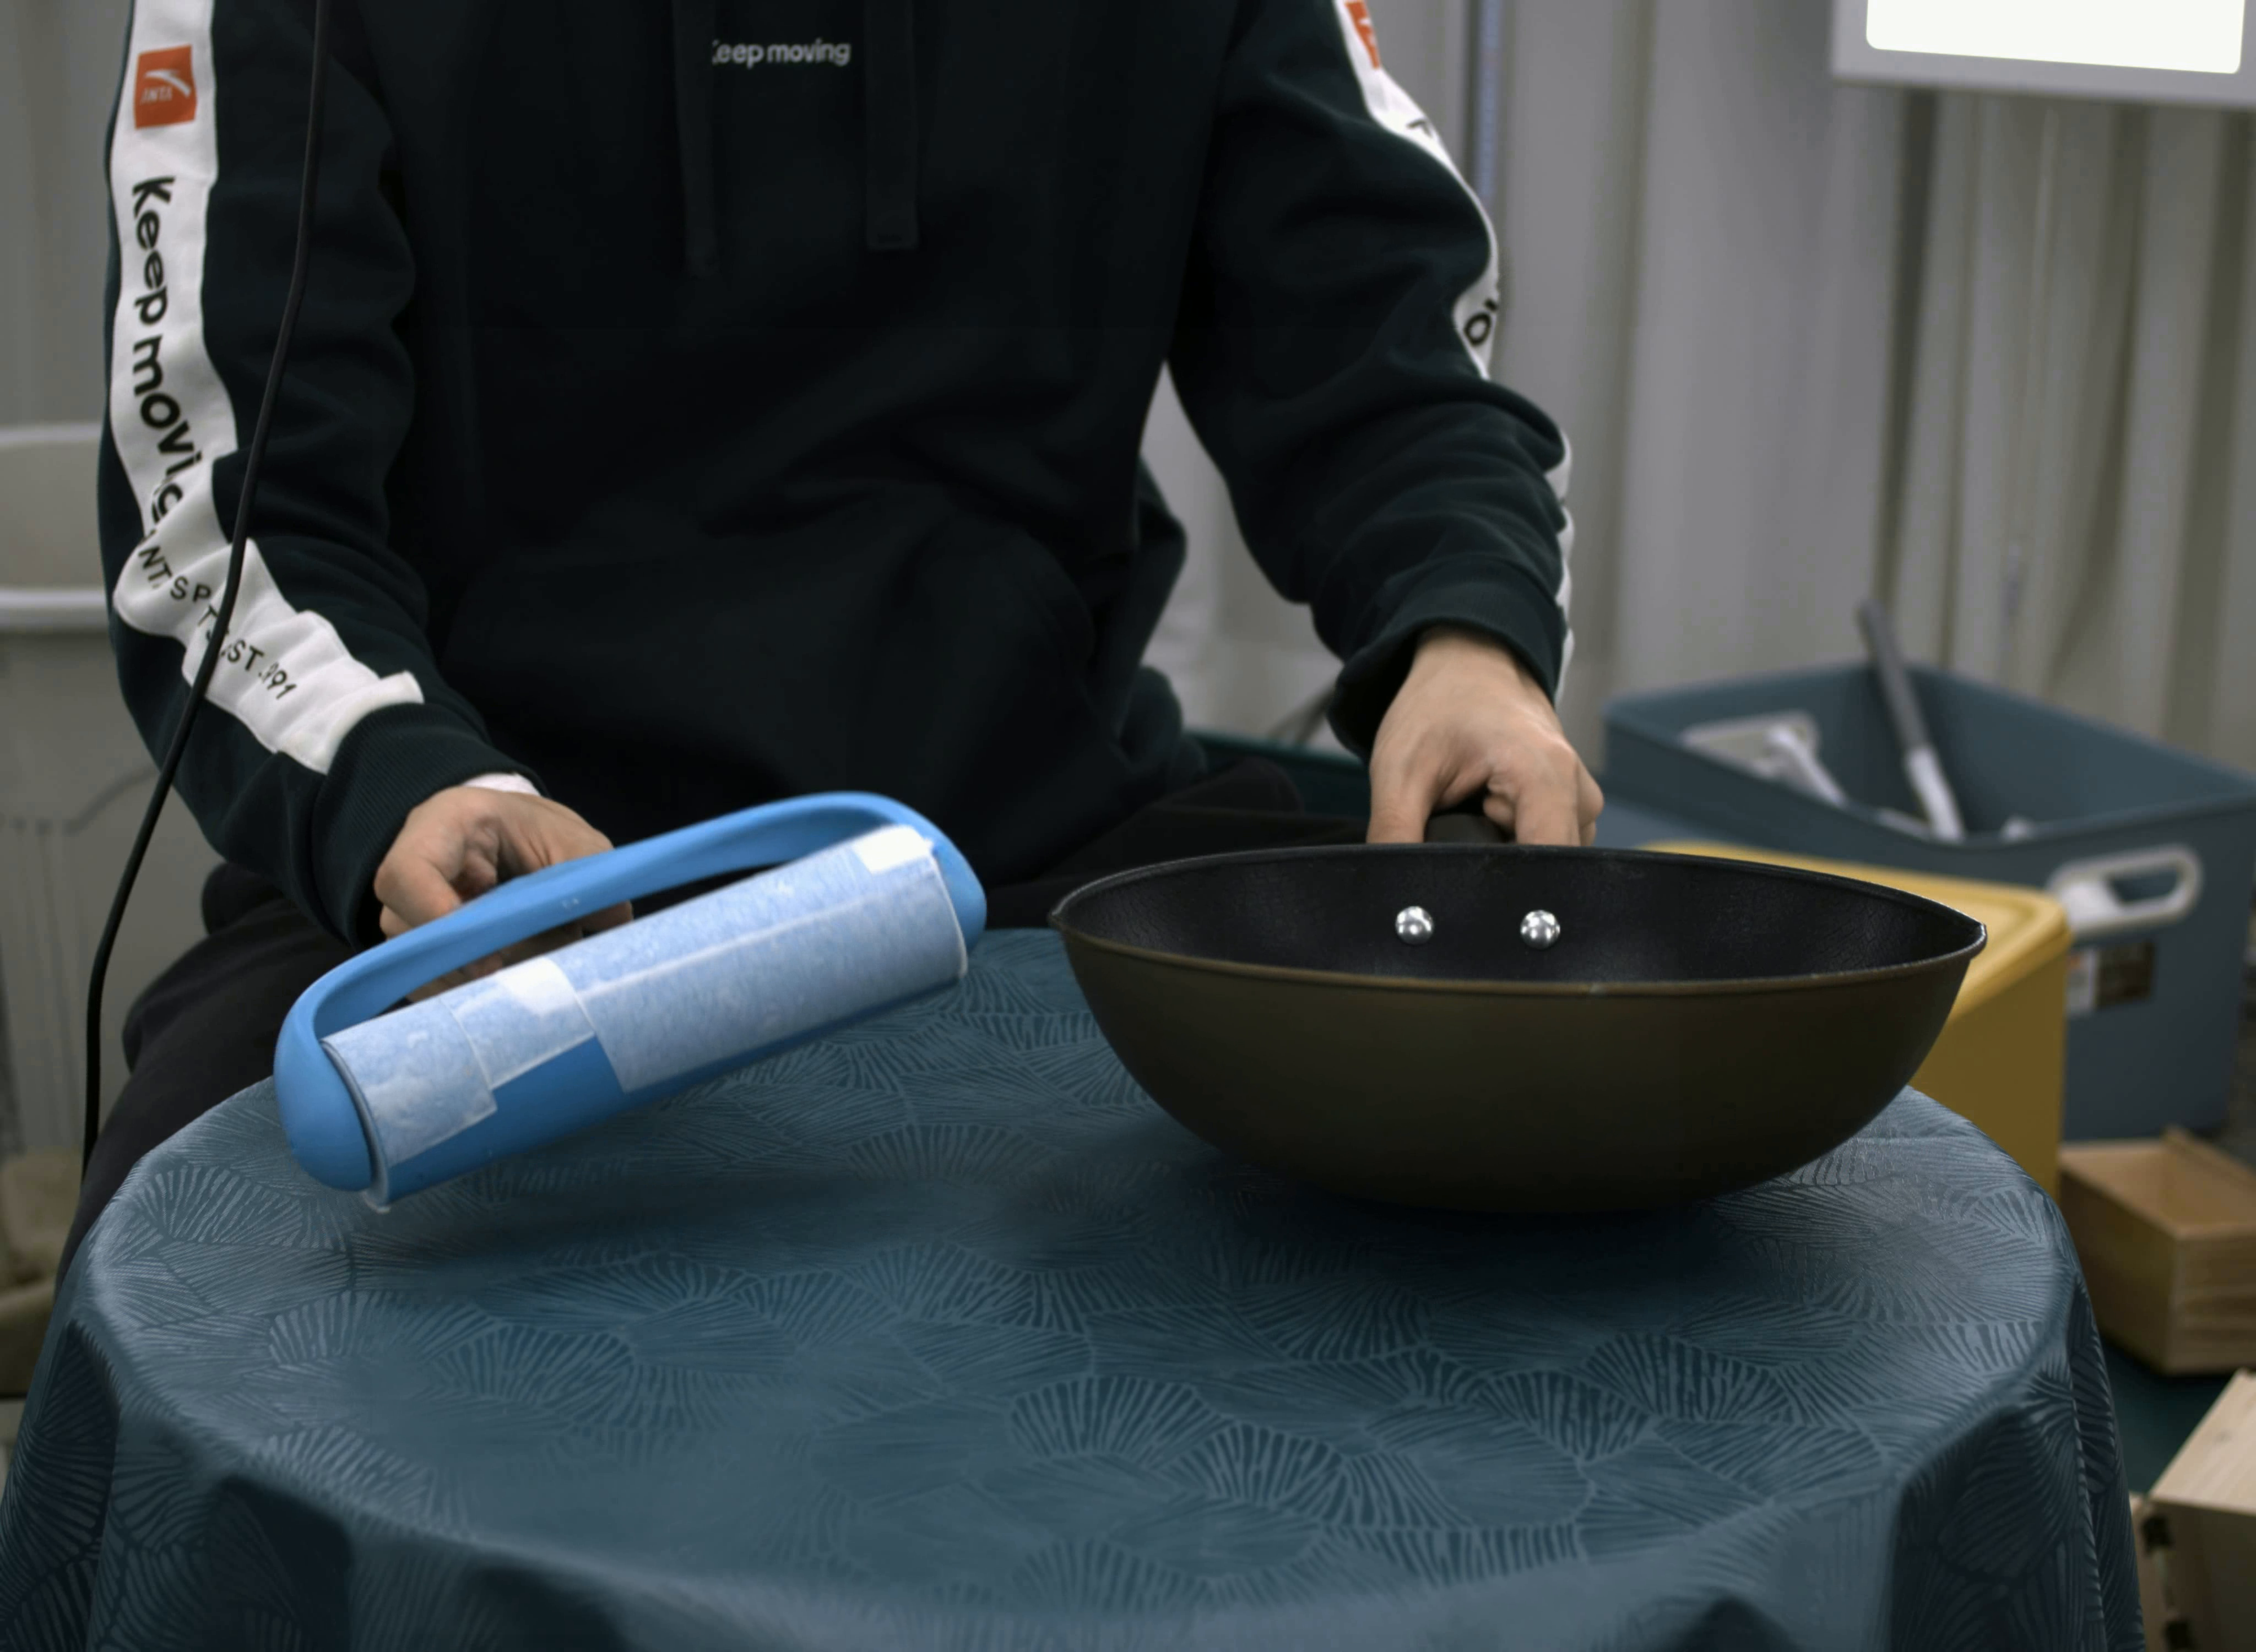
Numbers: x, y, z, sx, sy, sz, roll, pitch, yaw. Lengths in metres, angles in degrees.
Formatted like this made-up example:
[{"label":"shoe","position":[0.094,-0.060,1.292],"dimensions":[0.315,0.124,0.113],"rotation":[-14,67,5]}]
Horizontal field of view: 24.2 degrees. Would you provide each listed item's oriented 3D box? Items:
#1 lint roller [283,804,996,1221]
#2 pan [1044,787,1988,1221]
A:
[{"label":"lint roller","position":[-0.172,0.048,1.625],"dimensions":[0.229,0.068,0.178],"rotation":[-23,21,-25]},{"label":"pan","position":[0.115,0.053,1.696],"dimensions":[0.287,0.087,0.462],"rotation":[2,8,-2]}]
